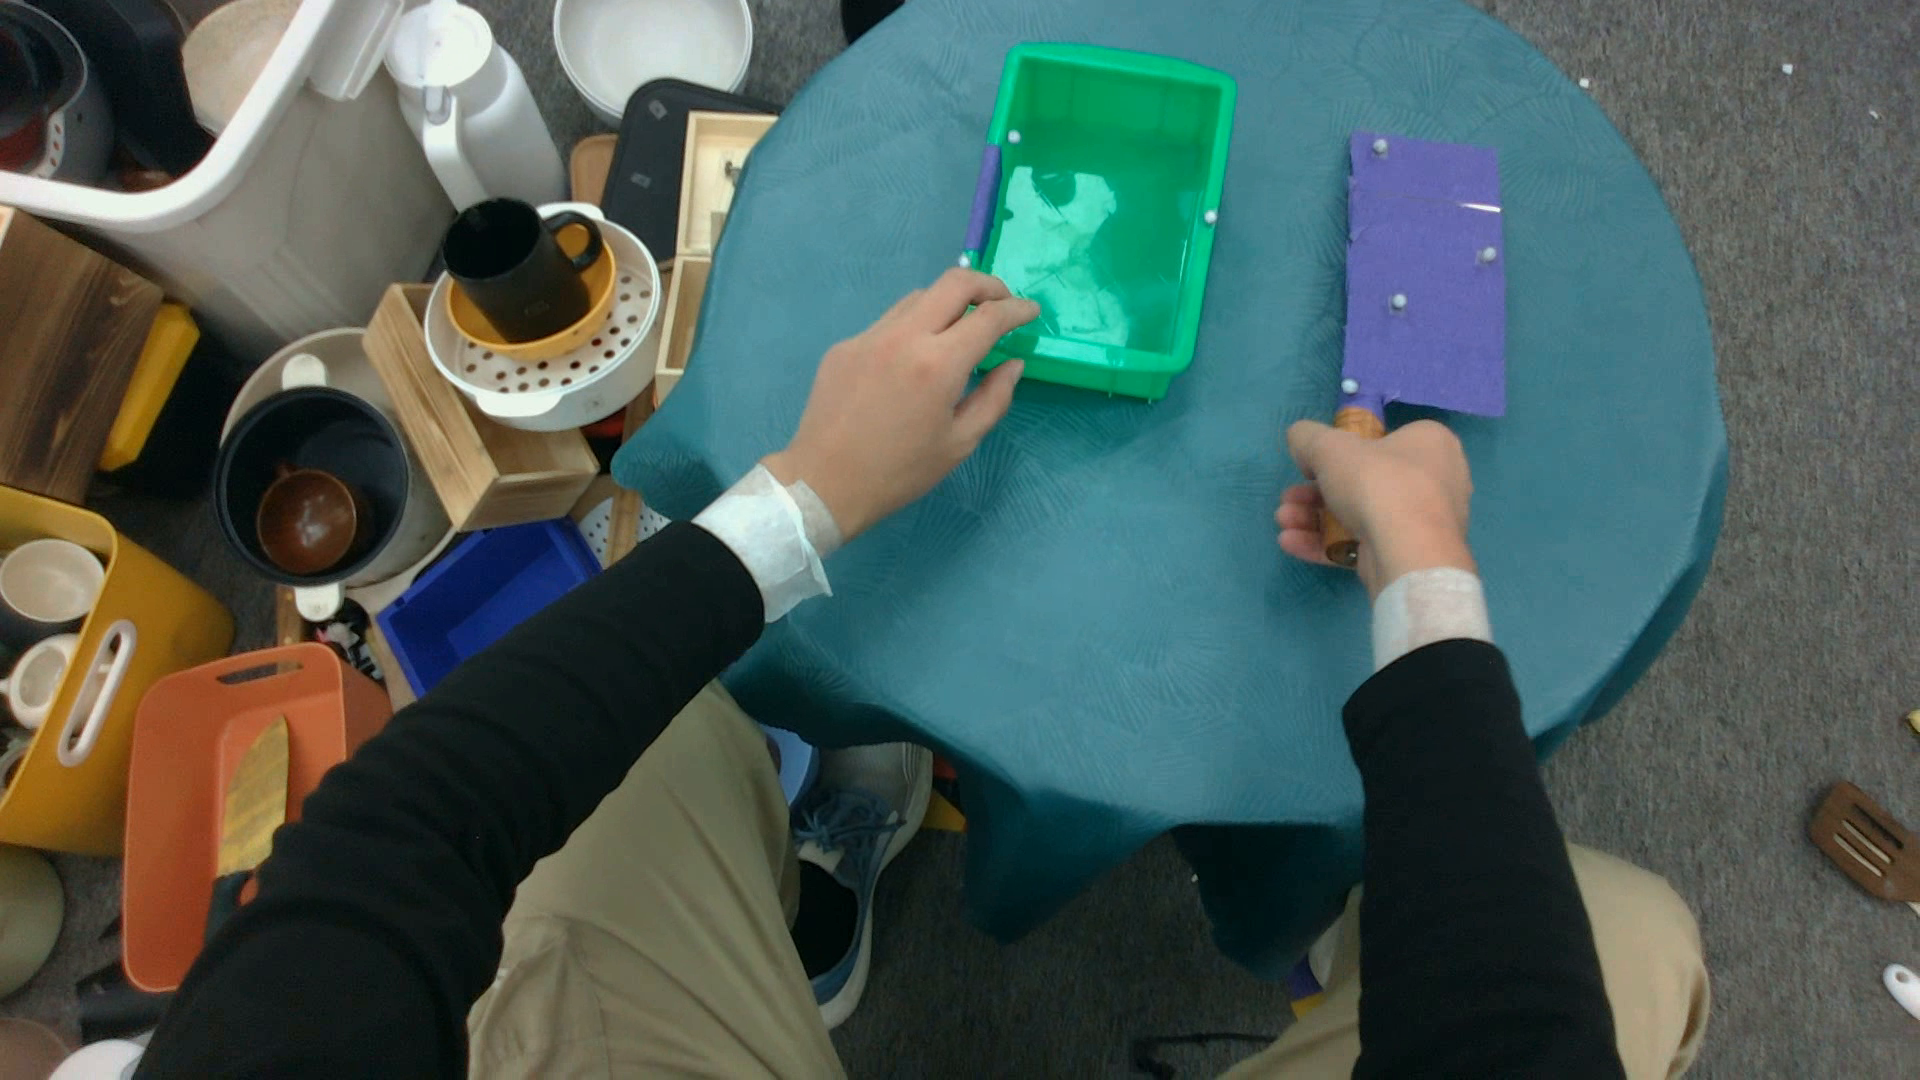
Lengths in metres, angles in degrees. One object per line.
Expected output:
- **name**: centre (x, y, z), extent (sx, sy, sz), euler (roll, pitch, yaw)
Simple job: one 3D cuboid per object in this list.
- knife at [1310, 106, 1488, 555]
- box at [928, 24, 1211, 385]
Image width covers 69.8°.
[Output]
- **knife**: centre (0.250, -0.130, 0.786), extent (0.104, 0.032, 0.316), euler (9, 62, 2)
- **box**: centre (0.065, -0.193, 0.808), extent (0.138, 0.065, 0.211), euler (9, 72, 4)
